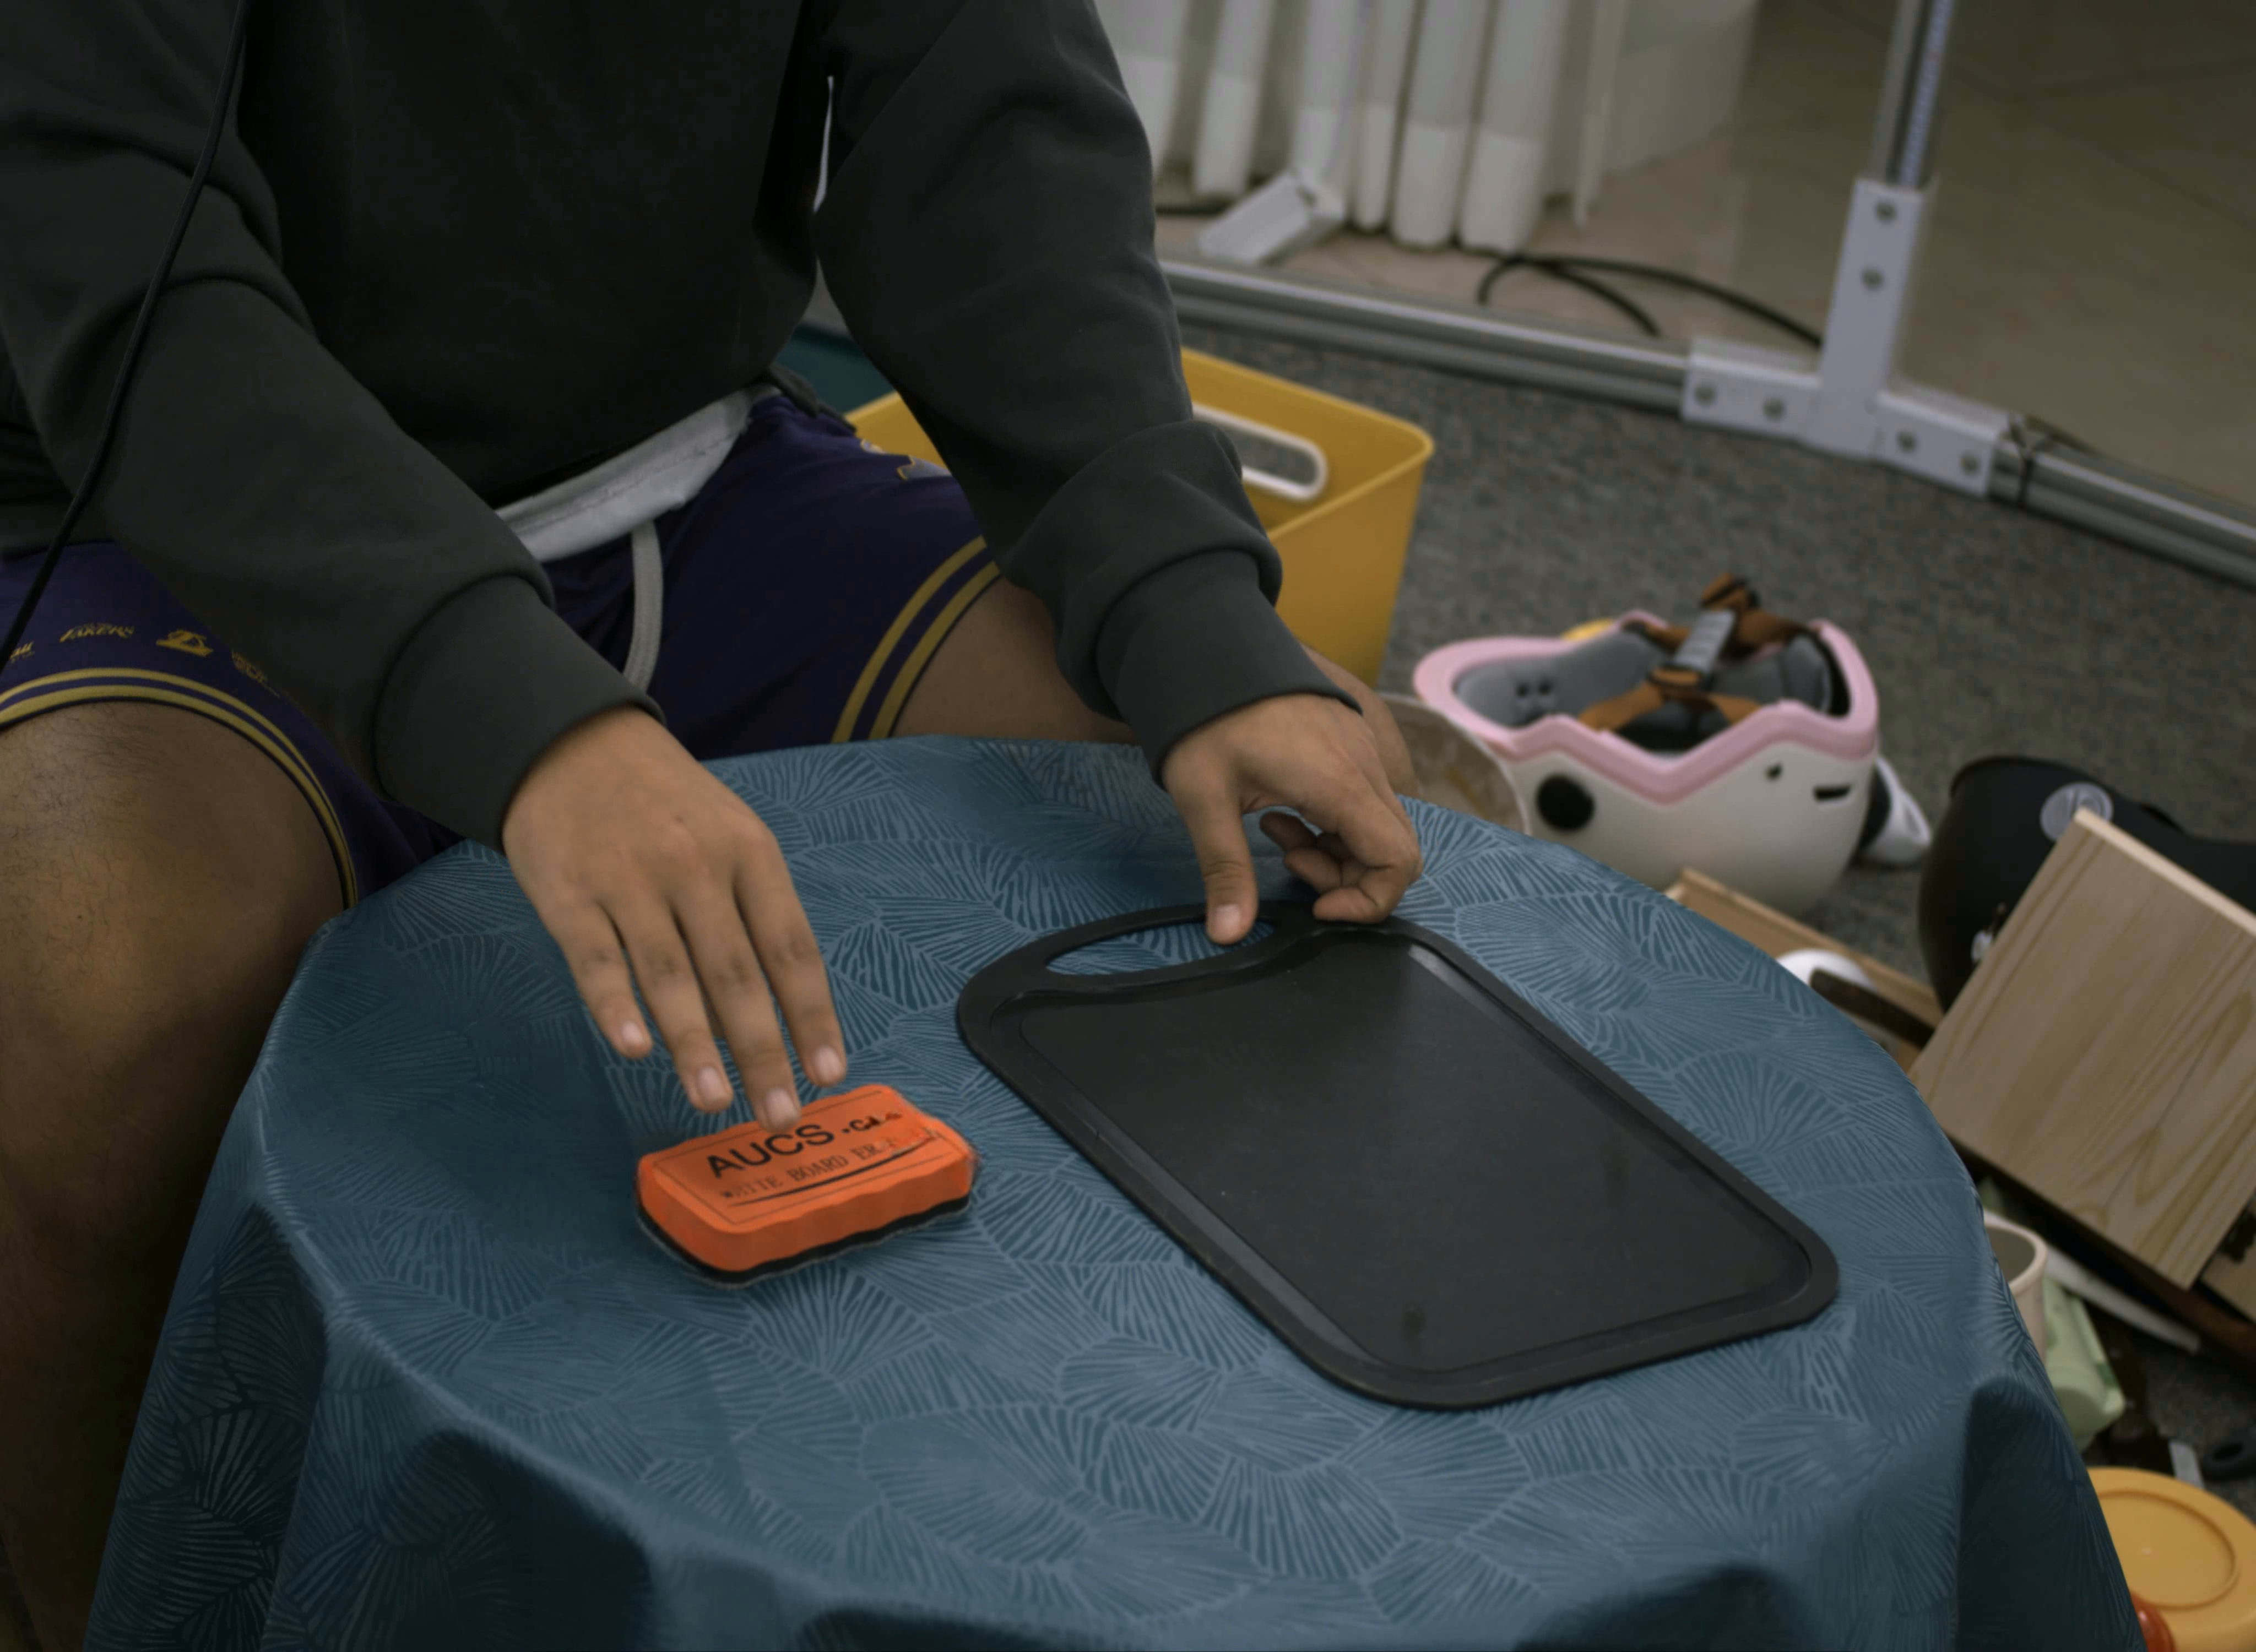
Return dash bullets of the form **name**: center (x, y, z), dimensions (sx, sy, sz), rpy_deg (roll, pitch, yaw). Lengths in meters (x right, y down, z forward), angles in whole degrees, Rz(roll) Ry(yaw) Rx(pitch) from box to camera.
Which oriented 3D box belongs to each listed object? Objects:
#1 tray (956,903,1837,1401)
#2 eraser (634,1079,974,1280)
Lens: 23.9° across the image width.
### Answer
- **tray**: center (0.084, 0.104, 1.853), dimensions (0.210, 0.010, 0.328), rpy_deg (-10, 31, -30)
- **eraser**: center (-0.107, 0.116, 1.759), dimensions (0.107, 0.023, 0.059), rpy_deg (-15, 35, -38)
